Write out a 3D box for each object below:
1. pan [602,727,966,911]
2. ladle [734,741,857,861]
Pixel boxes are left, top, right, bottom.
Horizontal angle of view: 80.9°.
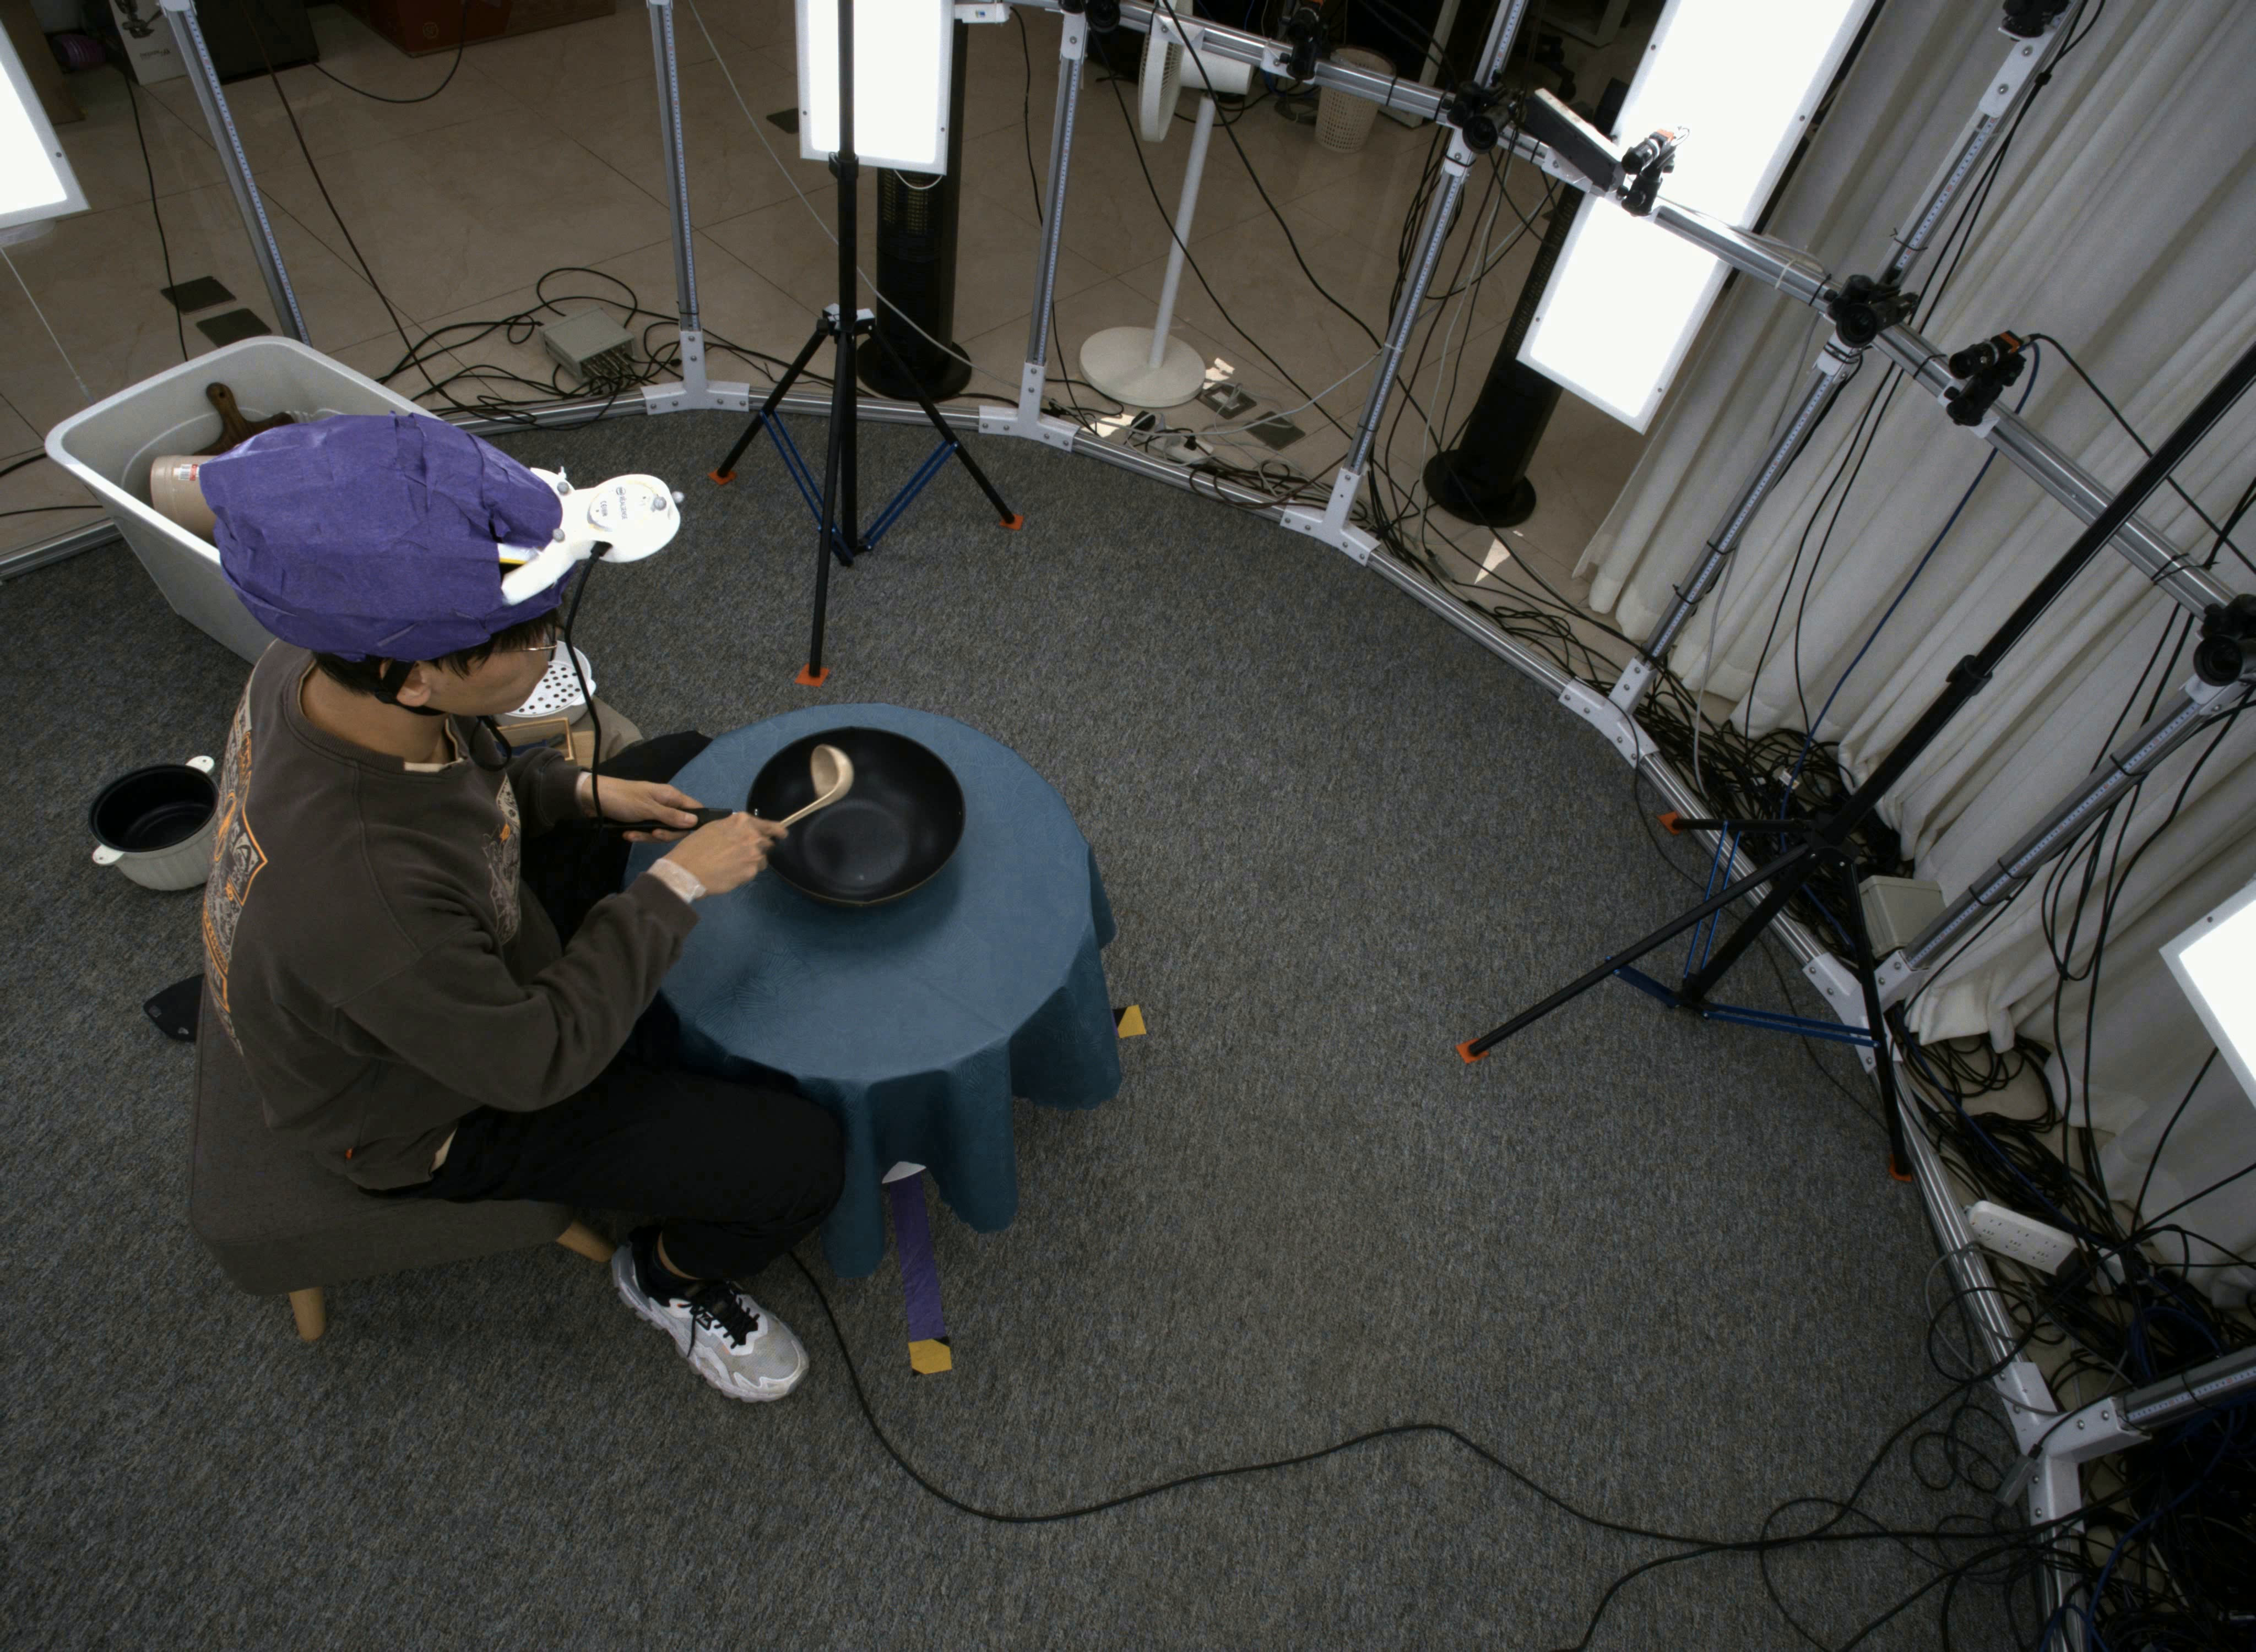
[{"bbox_3d":[-0.440,0.008,1.676,0.464,0.089,0.282,-3,55,-15],"label":"pan"},{"bbox_3d":[-0.423,-0.035,1.585,0.072,0.072,0.254,42,34,4],"label":"ladle"}]
